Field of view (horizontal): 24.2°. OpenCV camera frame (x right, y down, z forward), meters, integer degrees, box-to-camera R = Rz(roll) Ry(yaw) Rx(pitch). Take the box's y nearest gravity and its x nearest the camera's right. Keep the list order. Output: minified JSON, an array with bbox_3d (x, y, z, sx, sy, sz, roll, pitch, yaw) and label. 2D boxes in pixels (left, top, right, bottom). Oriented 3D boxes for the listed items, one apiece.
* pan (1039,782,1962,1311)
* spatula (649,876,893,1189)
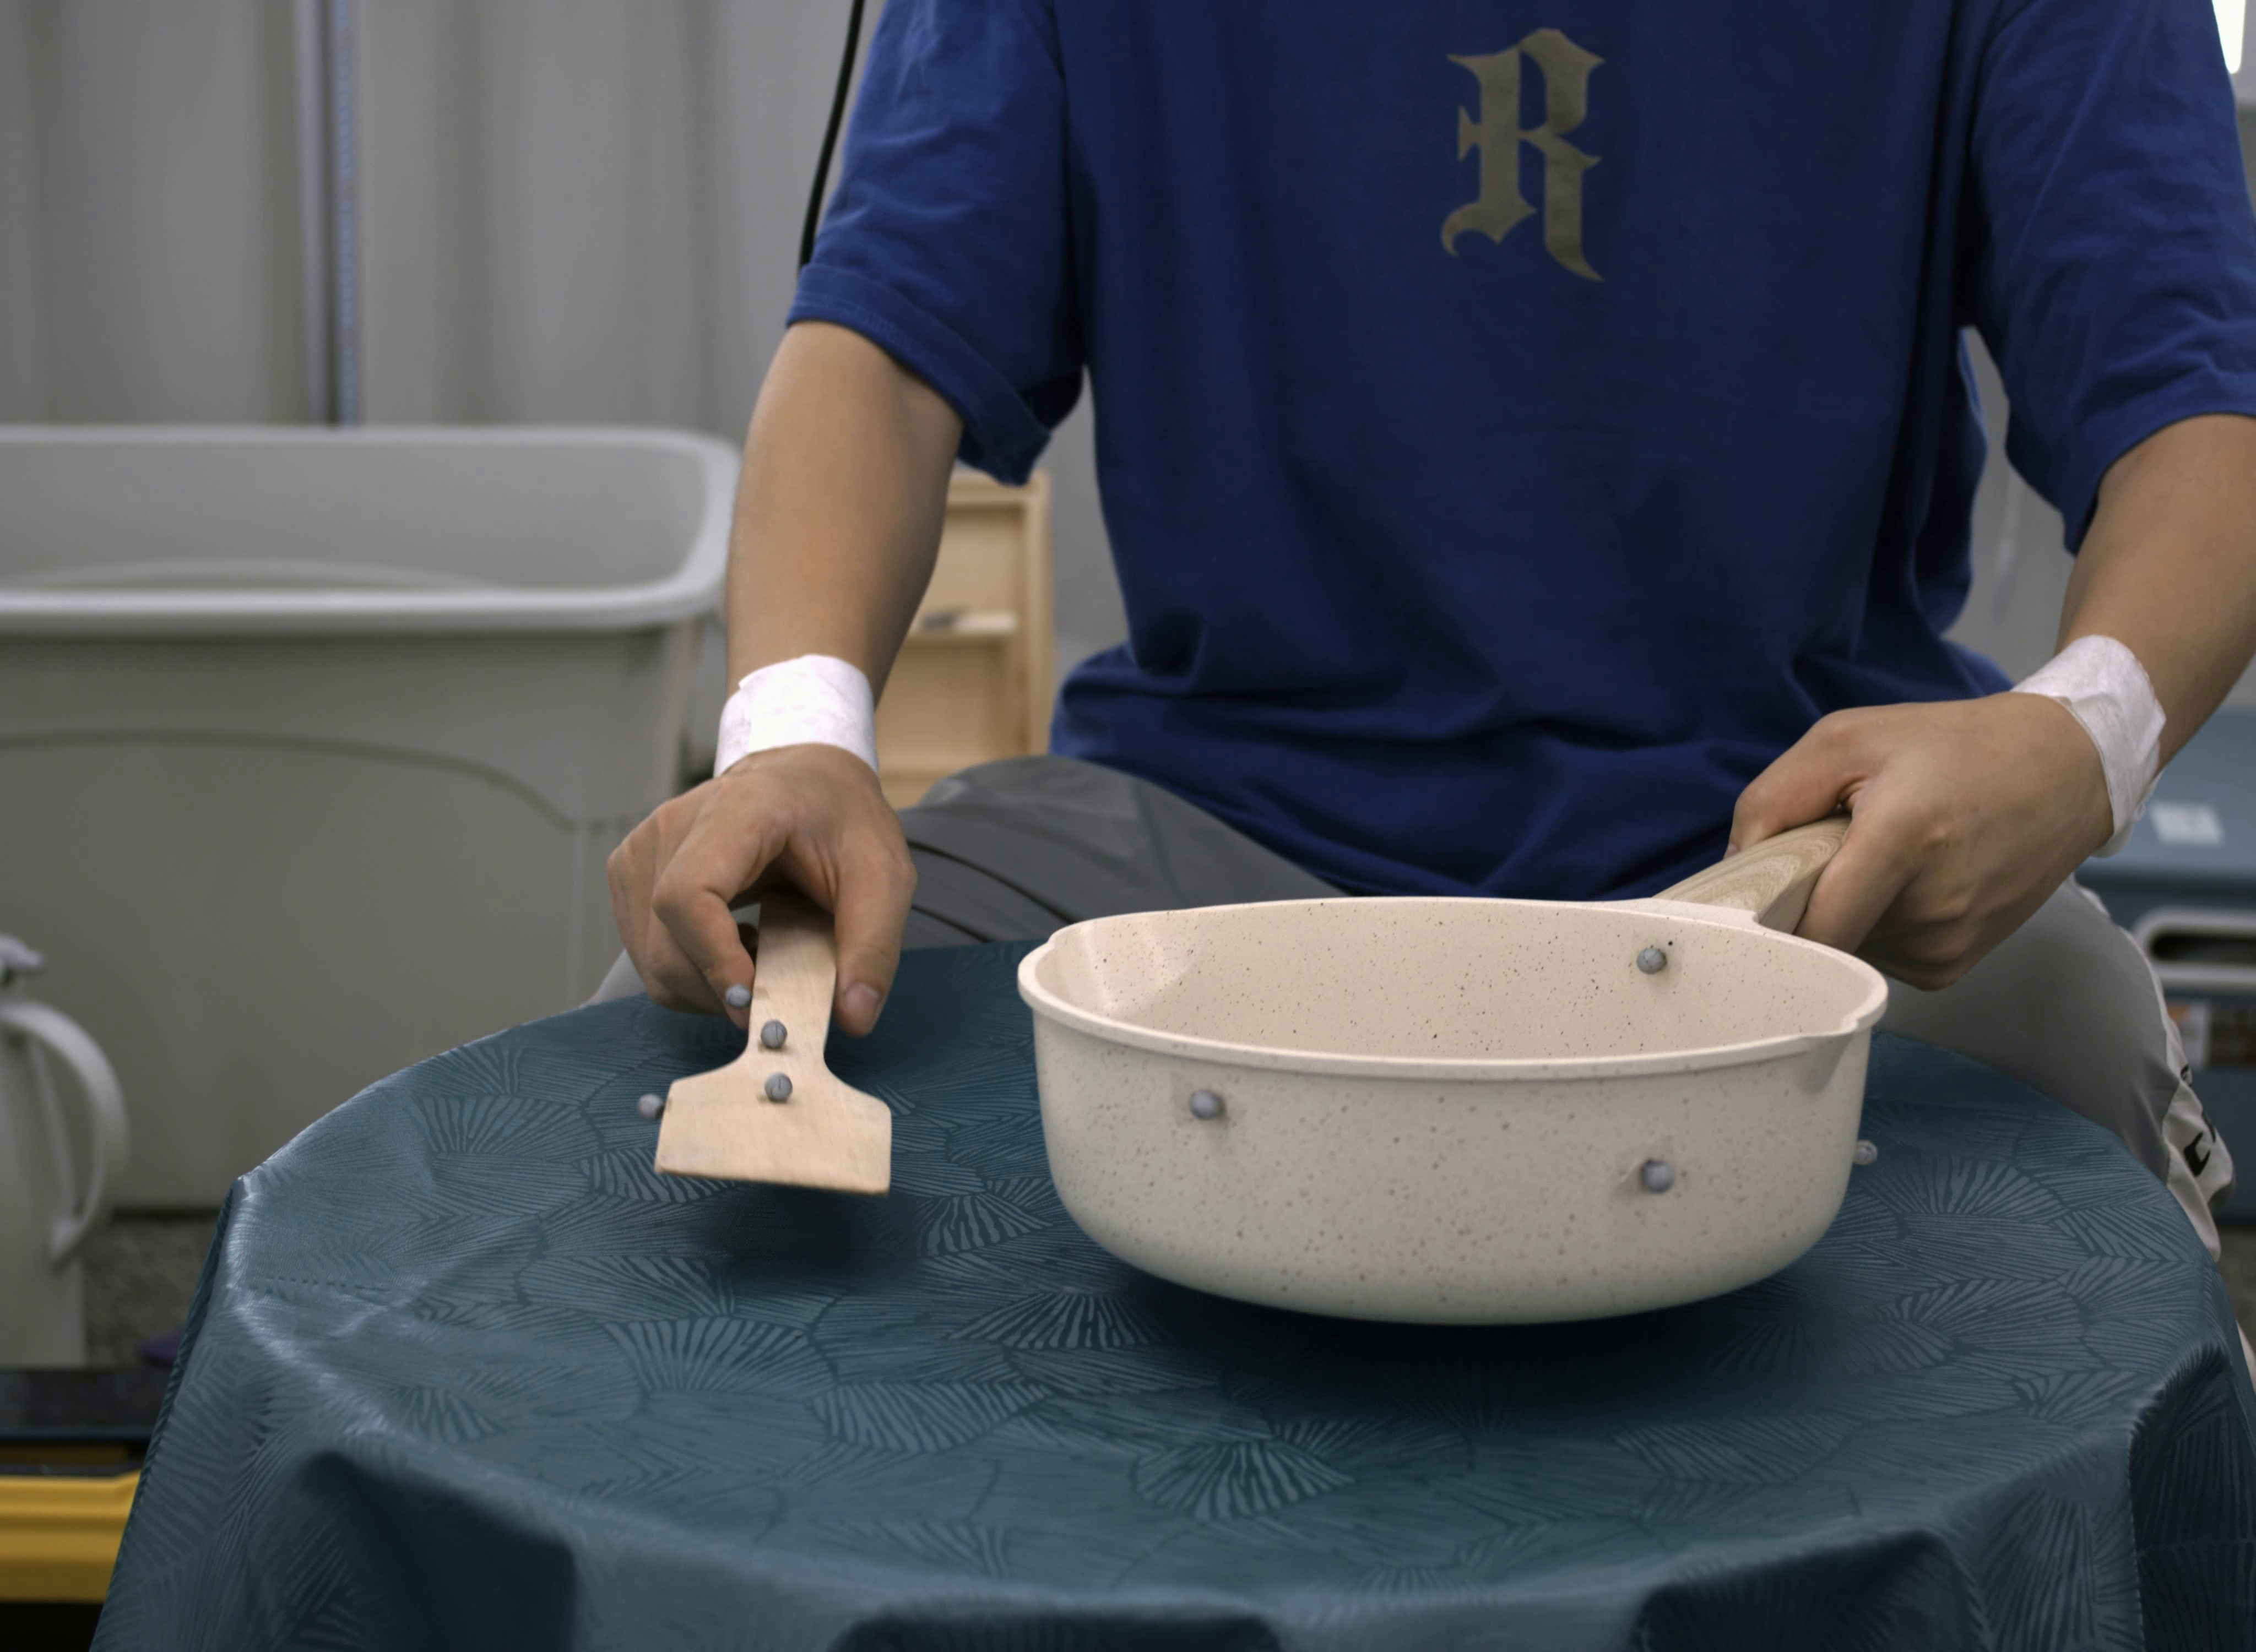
[{"bbox_3d":[0.151,0.061,1.597,0.260,0.102,0.437,5,10,34],"label":"pan"},{"bbox_3d":[-0.108,0.062,1.676,0.072,0.011,0.291,6,17,-3],"label":"spatula"}]
